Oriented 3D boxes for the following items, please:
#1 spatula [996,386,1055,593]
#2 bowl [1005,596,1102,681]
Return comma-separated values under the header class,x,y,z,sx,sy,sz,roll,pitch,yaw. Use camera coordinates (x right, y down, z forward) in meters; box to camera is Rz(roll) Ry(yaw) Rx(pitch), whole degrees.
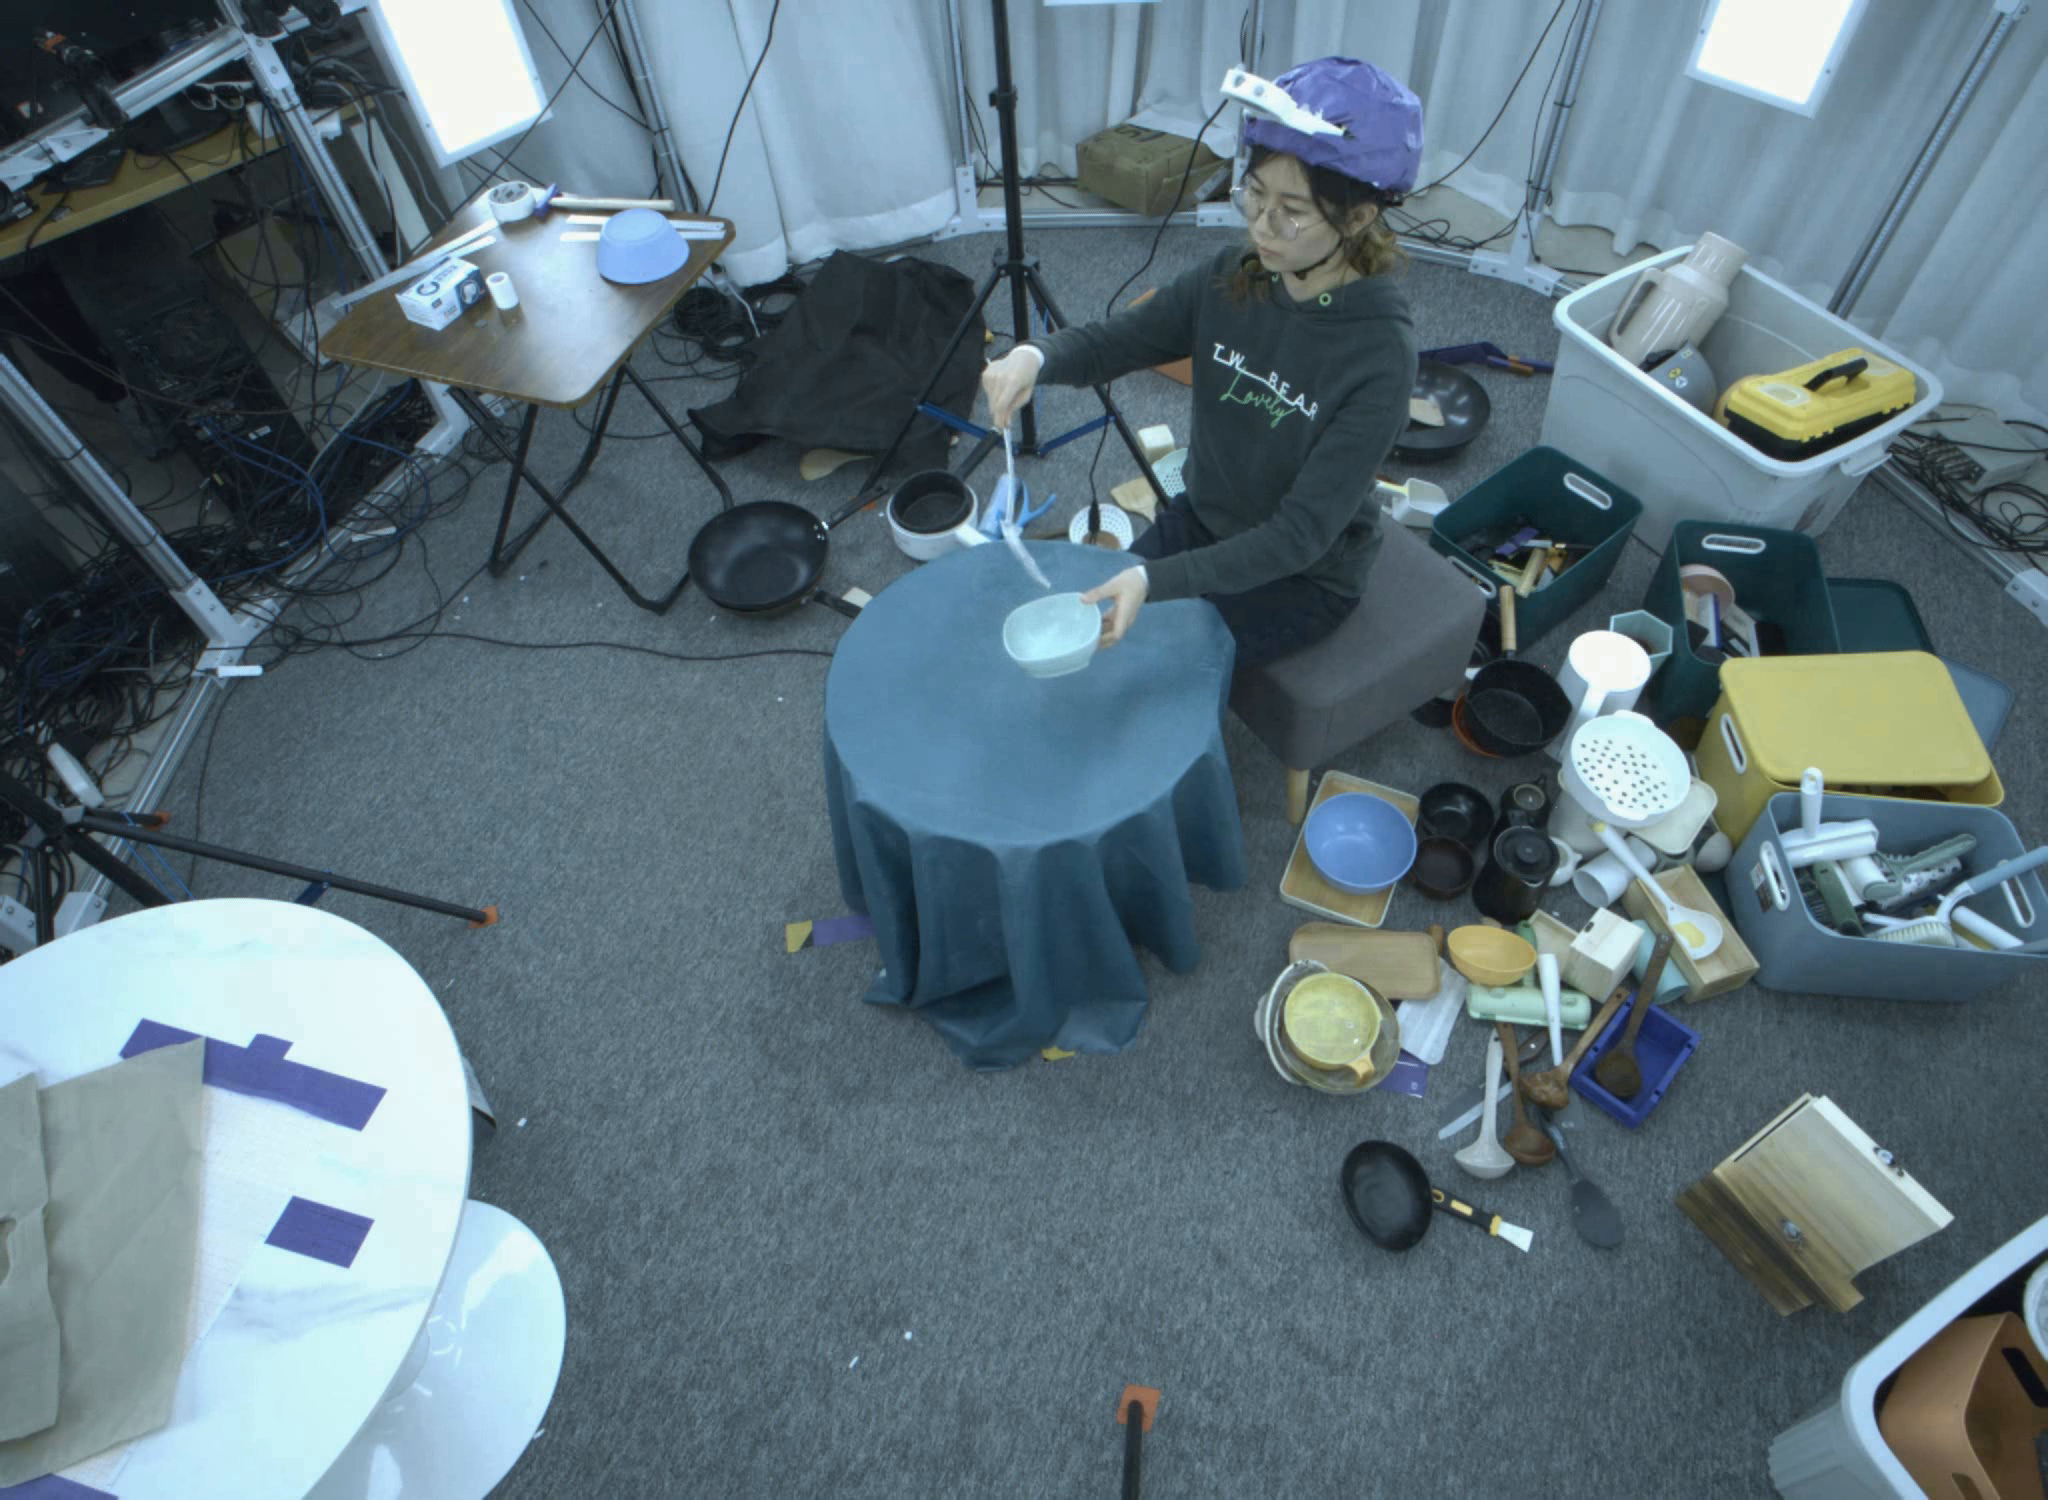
class,x,y,z,sx,sy,sz,roll,pitch,yaw
spatula,-0.011,-0.384,1.708,0.044,0.101,0.362,-14,70,22
bowl,0.047,-0.149,1.738,0.150,0.059,0.150,-9,45,10
